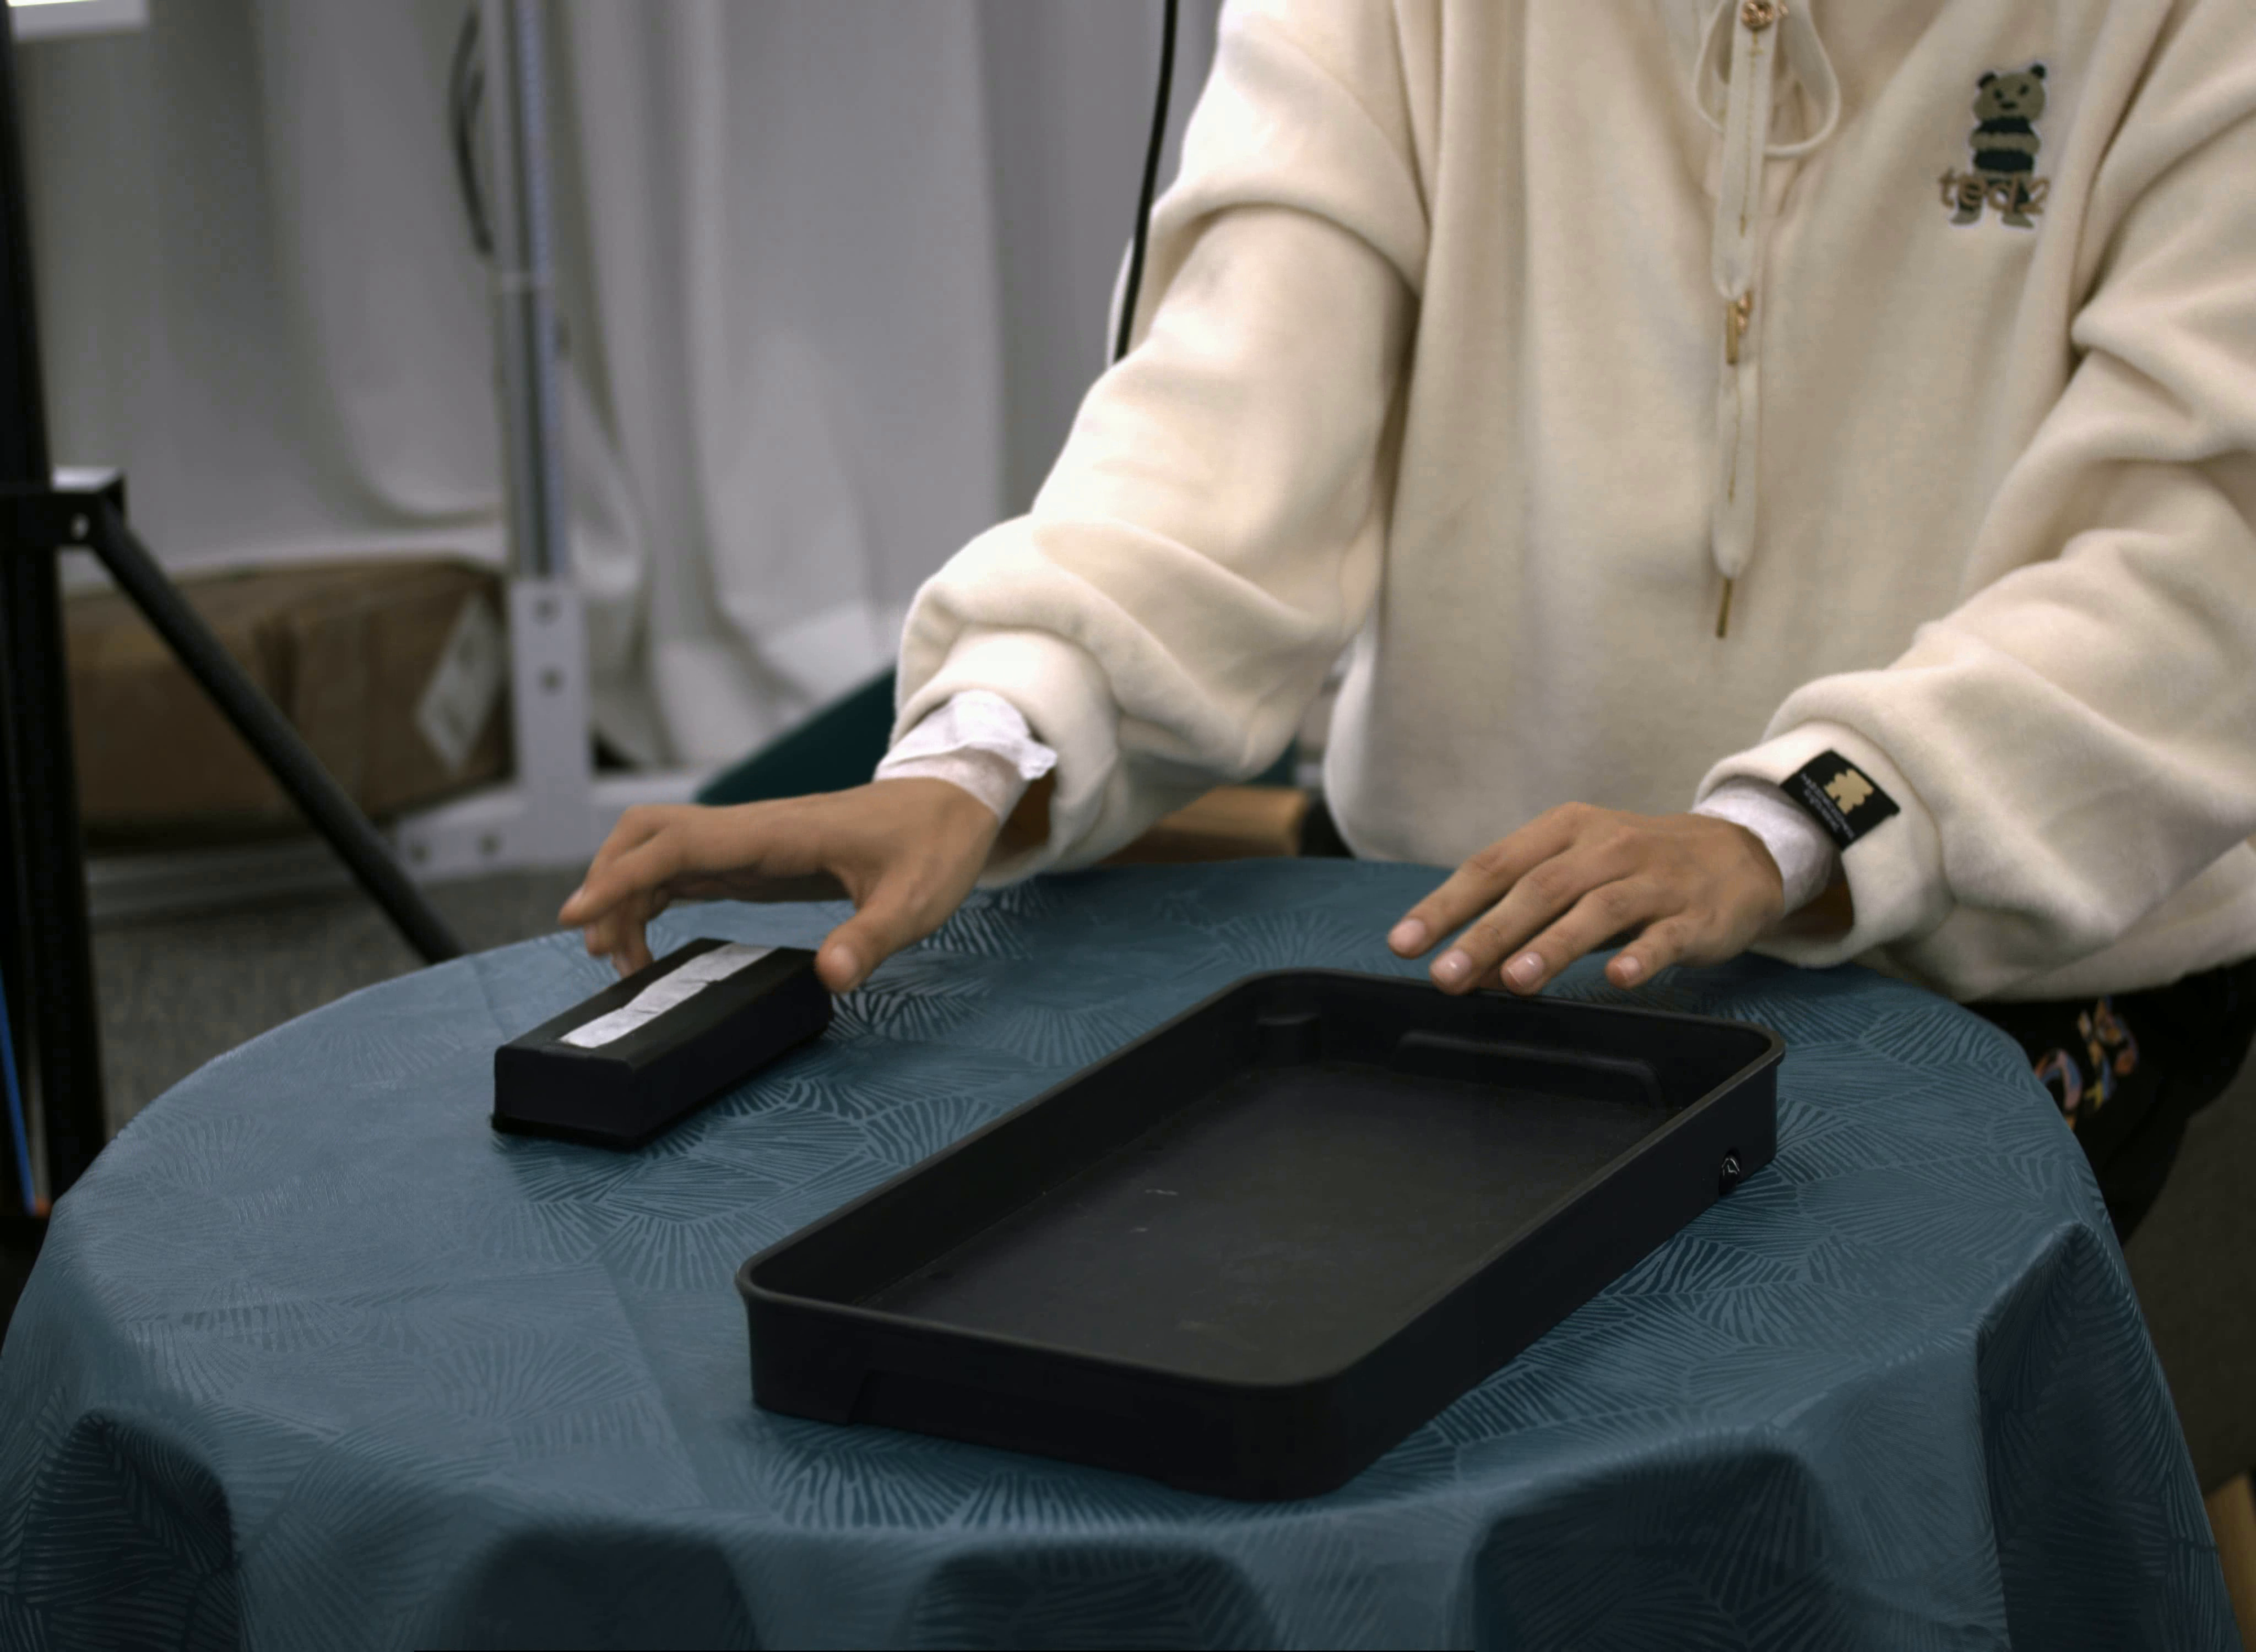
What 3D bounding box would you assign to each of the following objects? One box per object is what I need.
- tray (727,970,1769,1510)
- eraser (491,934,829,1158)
[{"bbox_3d":[0.042,0.108,1.482,0.187,0.037,0.312,7,18,29],"label":"tray"},{"bbox_3d":[-0.145,0.068,1.672,0.054,0.030,0.123,10,20,24],"label":"eraser"}]
